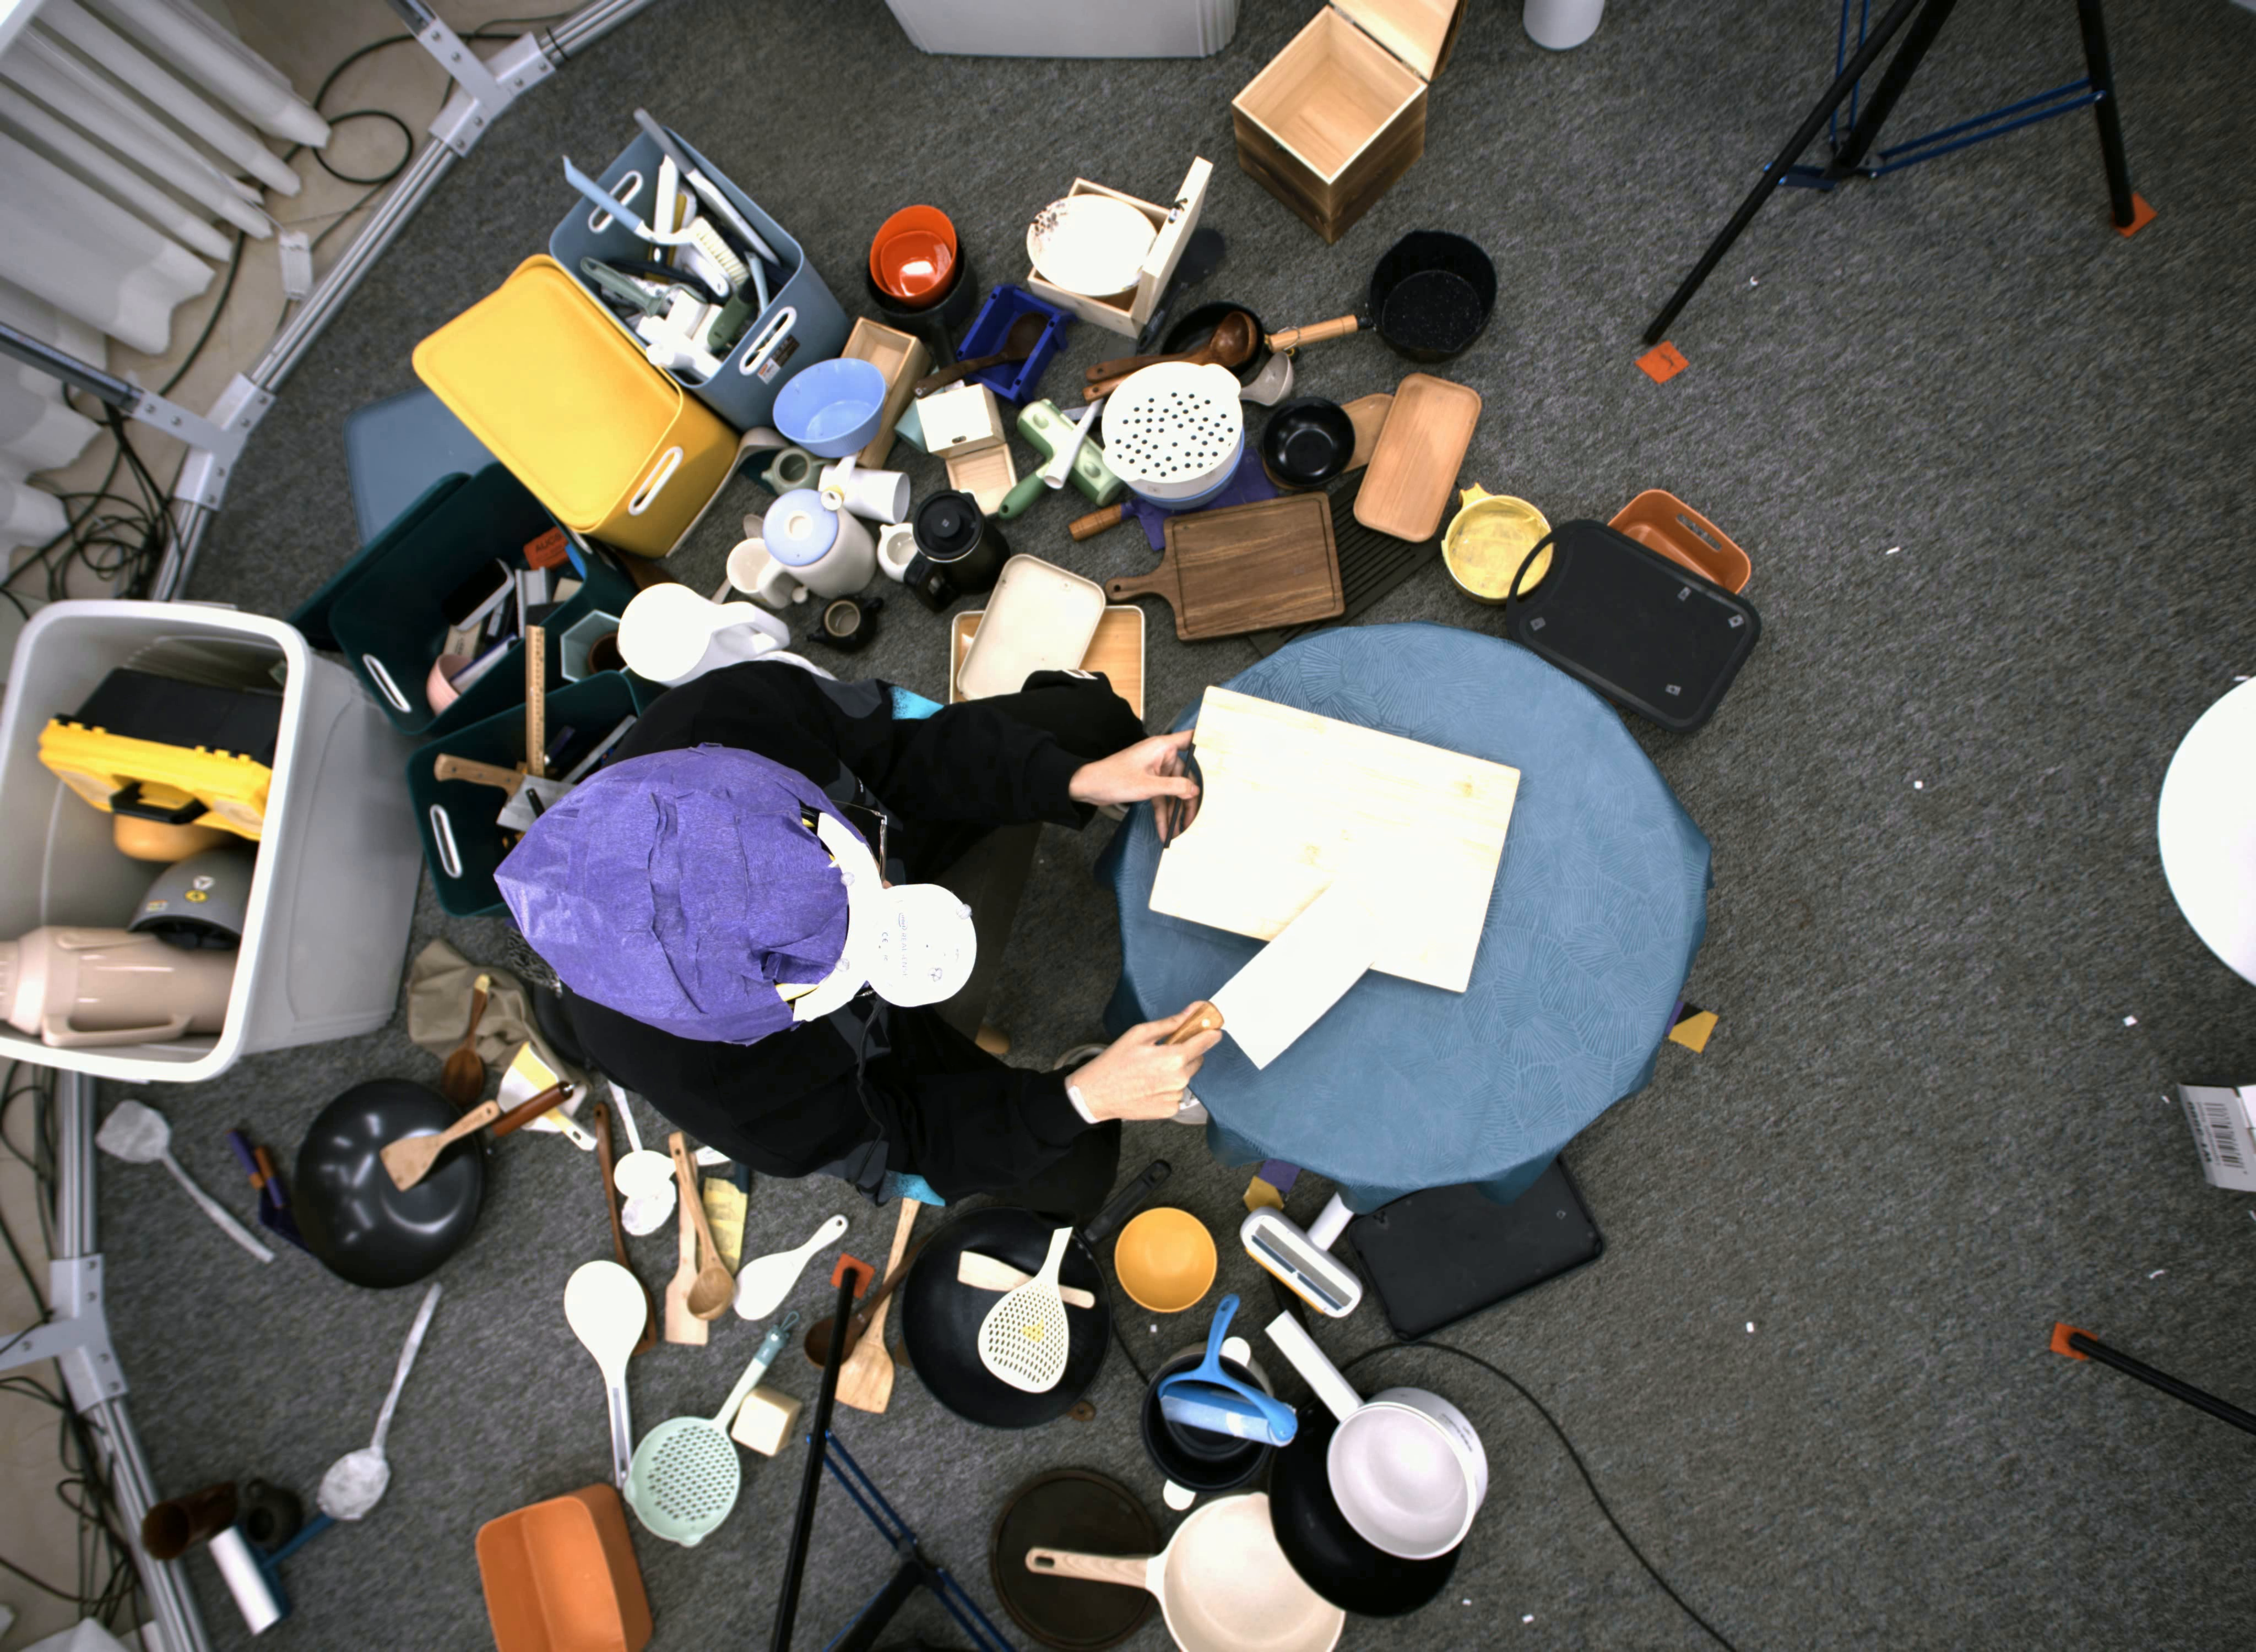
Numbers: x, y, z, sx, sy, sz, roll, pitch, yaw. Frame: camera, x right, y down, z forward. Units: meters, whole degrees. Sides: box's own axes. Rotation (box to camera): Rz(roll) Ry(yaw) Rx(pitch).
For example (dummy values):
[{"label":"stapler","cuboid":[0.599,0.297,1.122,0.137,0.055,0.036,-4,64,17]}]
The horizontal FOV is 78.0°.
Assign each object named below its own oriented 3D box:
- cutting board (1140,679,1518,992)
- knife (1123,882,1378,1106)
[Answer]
[{"label":"cutting board","cuboid":[0.208,0.010,1.430,0.349,0.023,0.250,14,90,-1]},{"label":"knife","cuboid":[0.131,0.186,1.403,0.305,0.021,0.093,-42,100,-4]}]
